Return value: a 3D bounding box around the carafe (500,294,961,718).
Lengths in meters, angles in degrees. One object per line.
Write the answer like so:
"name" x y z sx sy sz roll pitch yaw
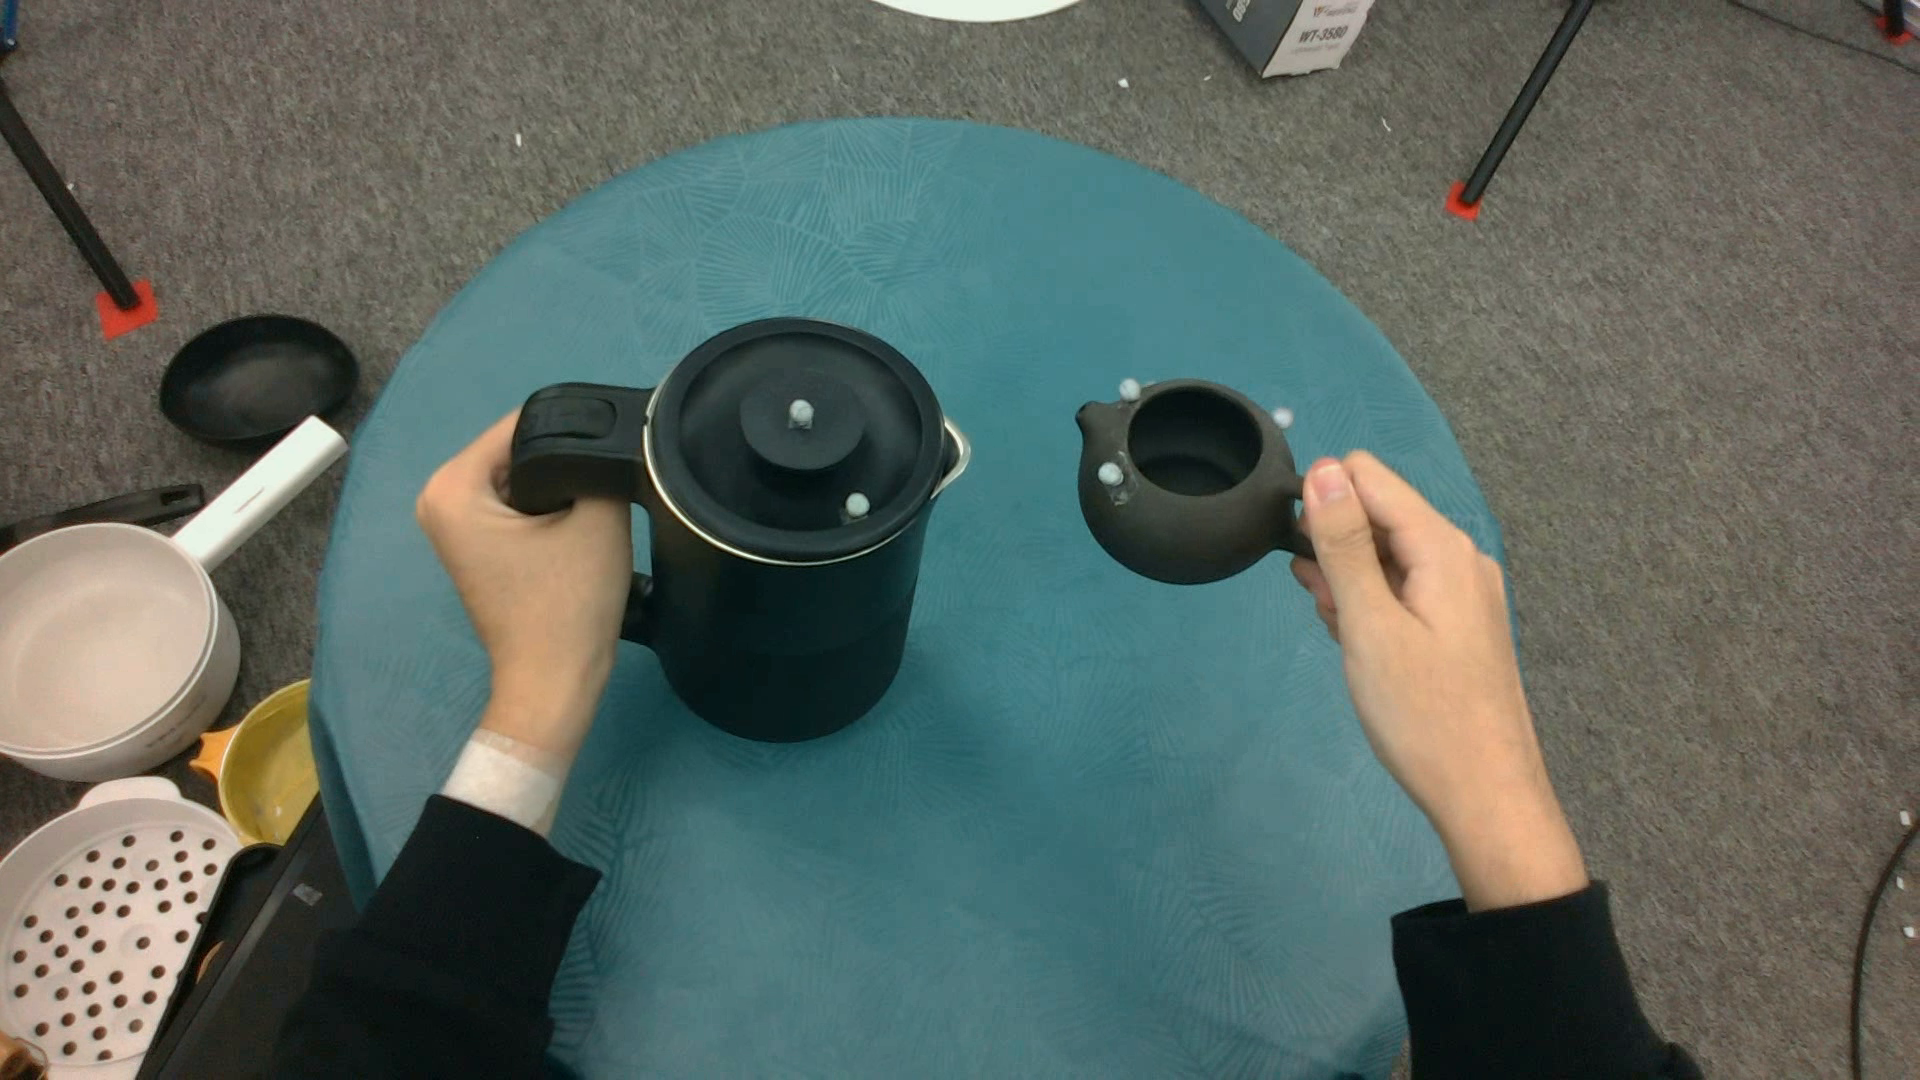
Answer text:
"carafe" -0.097 -0.012 0.557 0.172 0.172 0.115 4 61 -10

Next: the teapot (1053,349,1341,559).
"teapot" 0.088 -0.029 0.516 0.114 0.053 0.083 24 63 21
